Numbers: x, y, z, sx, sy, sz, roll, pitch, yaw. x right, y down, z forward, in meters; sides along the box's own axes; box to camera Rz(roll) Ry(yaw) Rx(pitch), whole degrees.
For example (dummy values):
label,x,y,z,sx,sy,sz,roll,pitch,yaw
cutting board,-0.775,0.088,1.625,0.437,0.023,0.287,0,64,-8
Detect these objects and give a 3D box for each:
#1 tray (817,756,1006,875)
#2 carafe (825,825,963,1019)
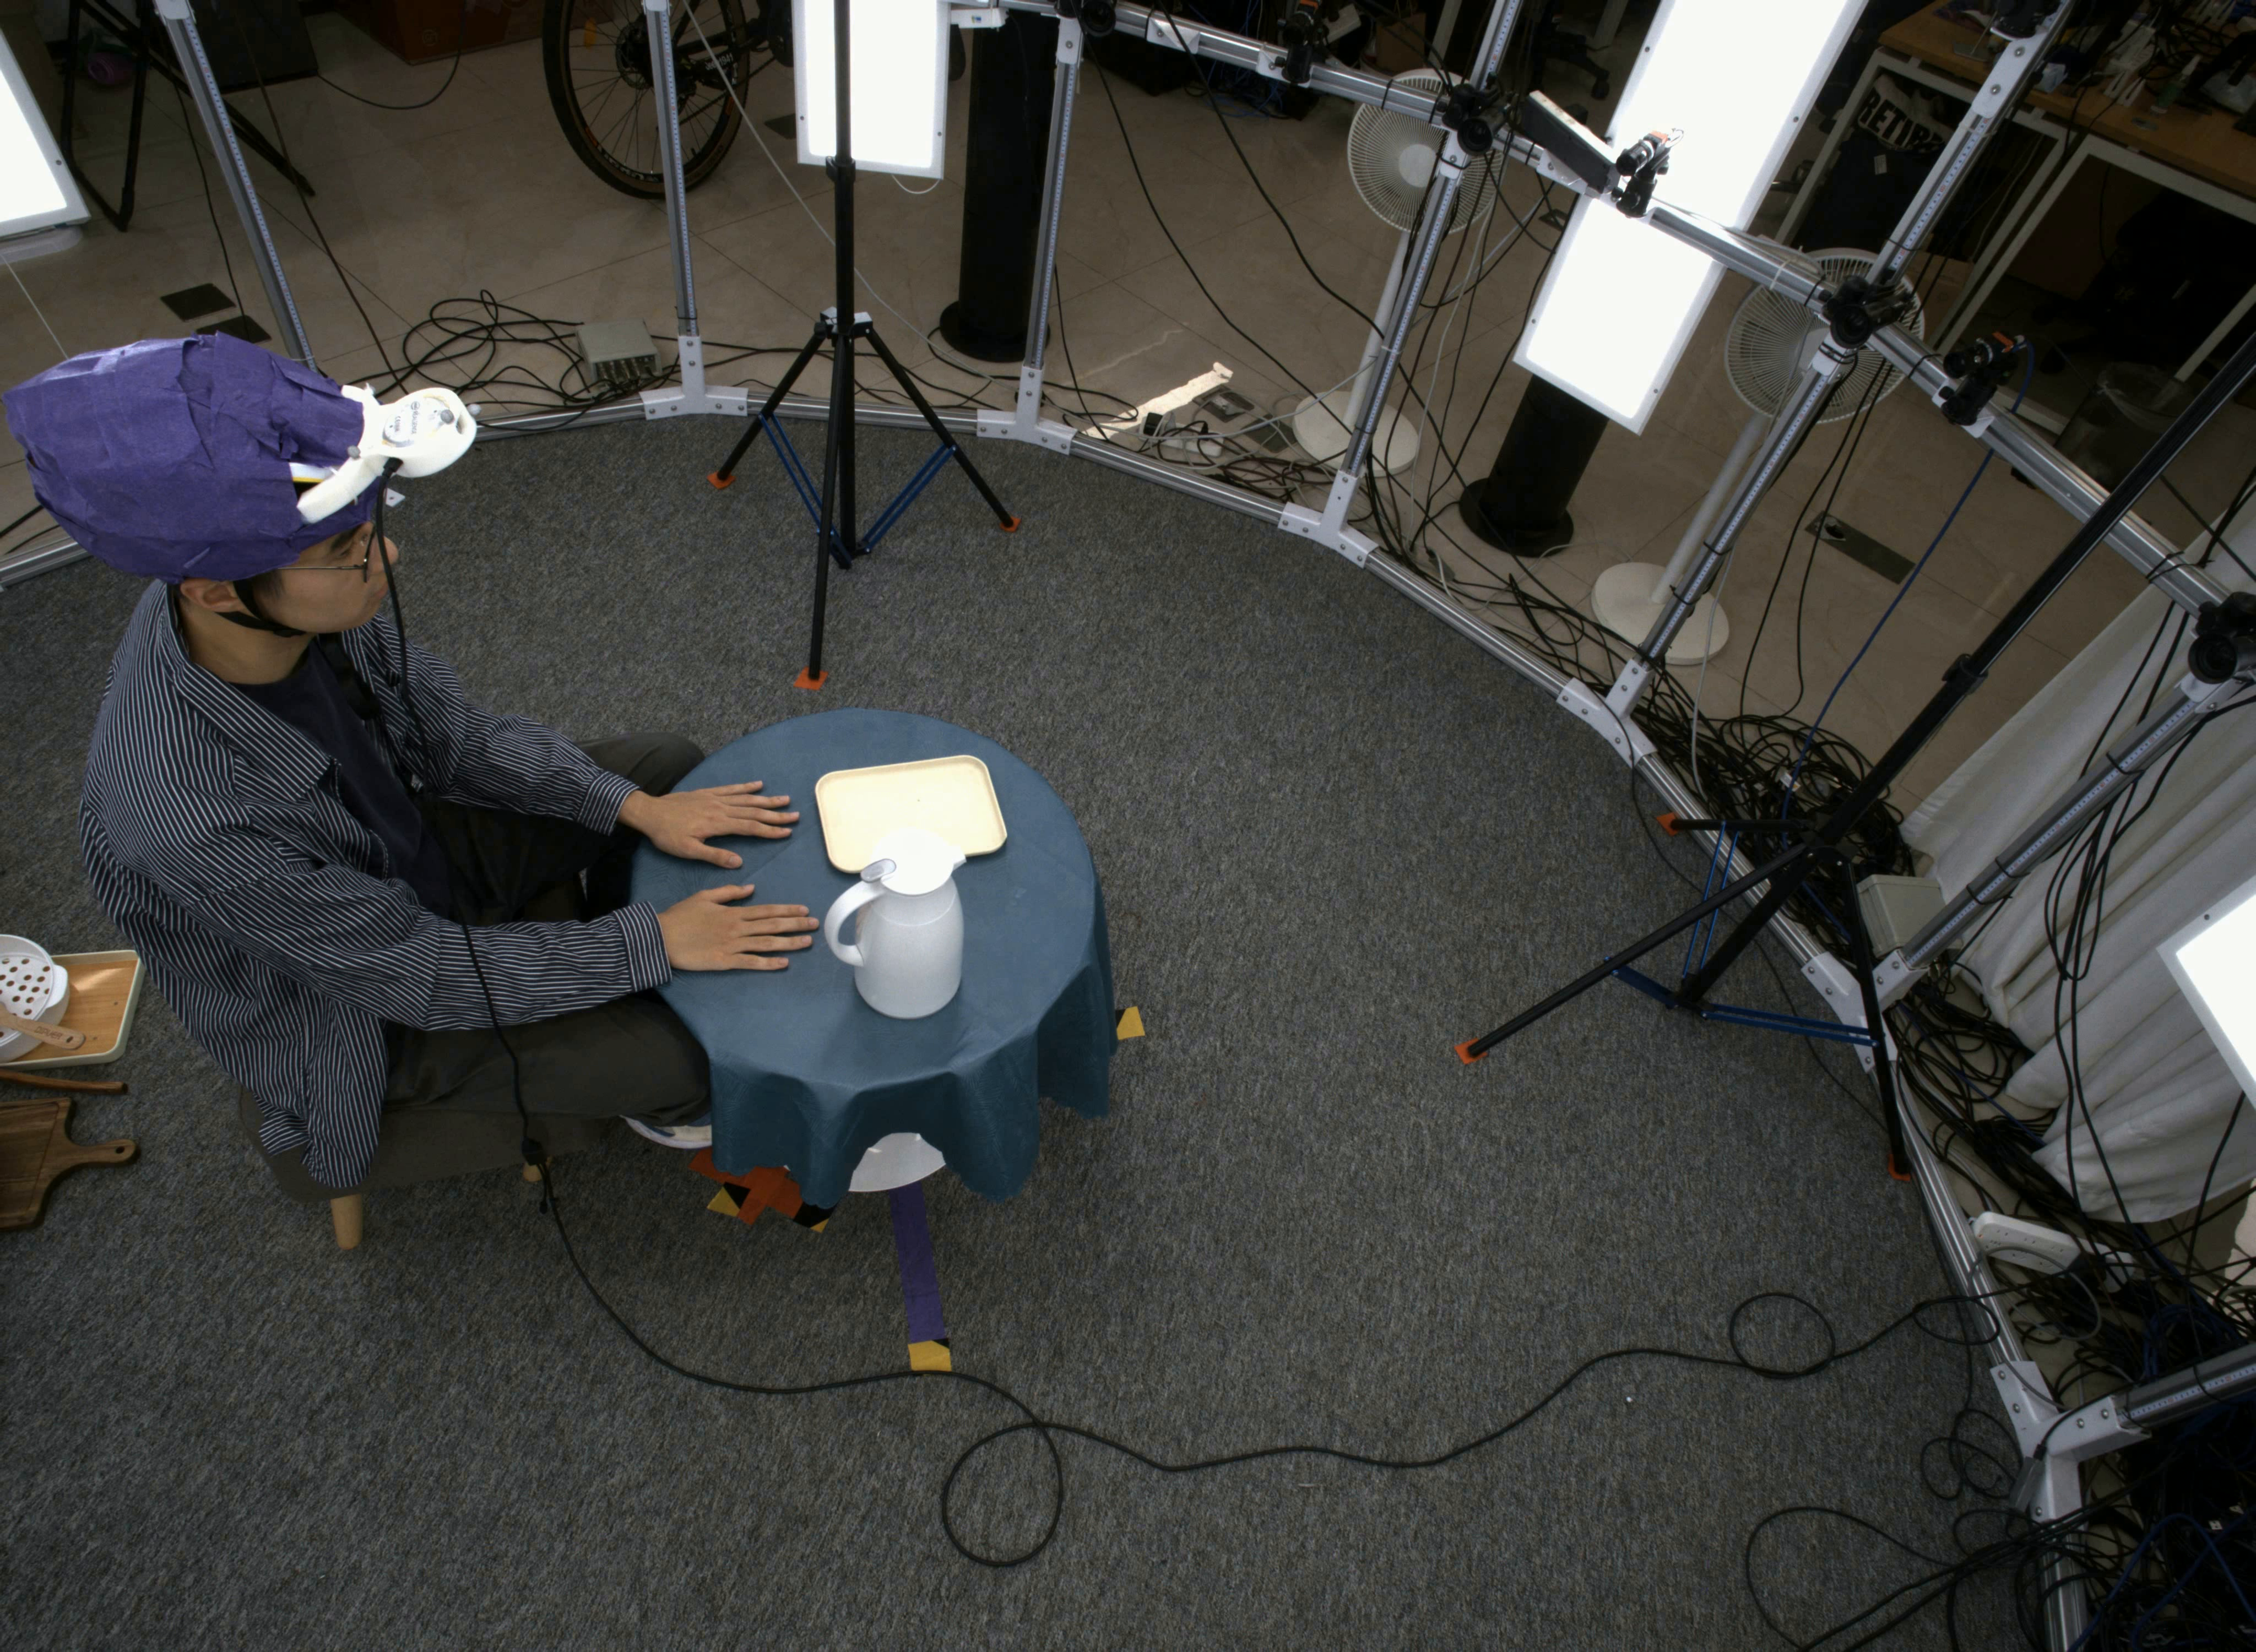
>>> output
label,x,y,z,sx,sy,sz,roll,pitch,yaw
tray,-0.294,-0.016,1.772,0.240,0.018,0.167,-9,56,-19
carafe,-0.274,0.114,1.530,0.168,0.254,0.129,-25,62,-26
